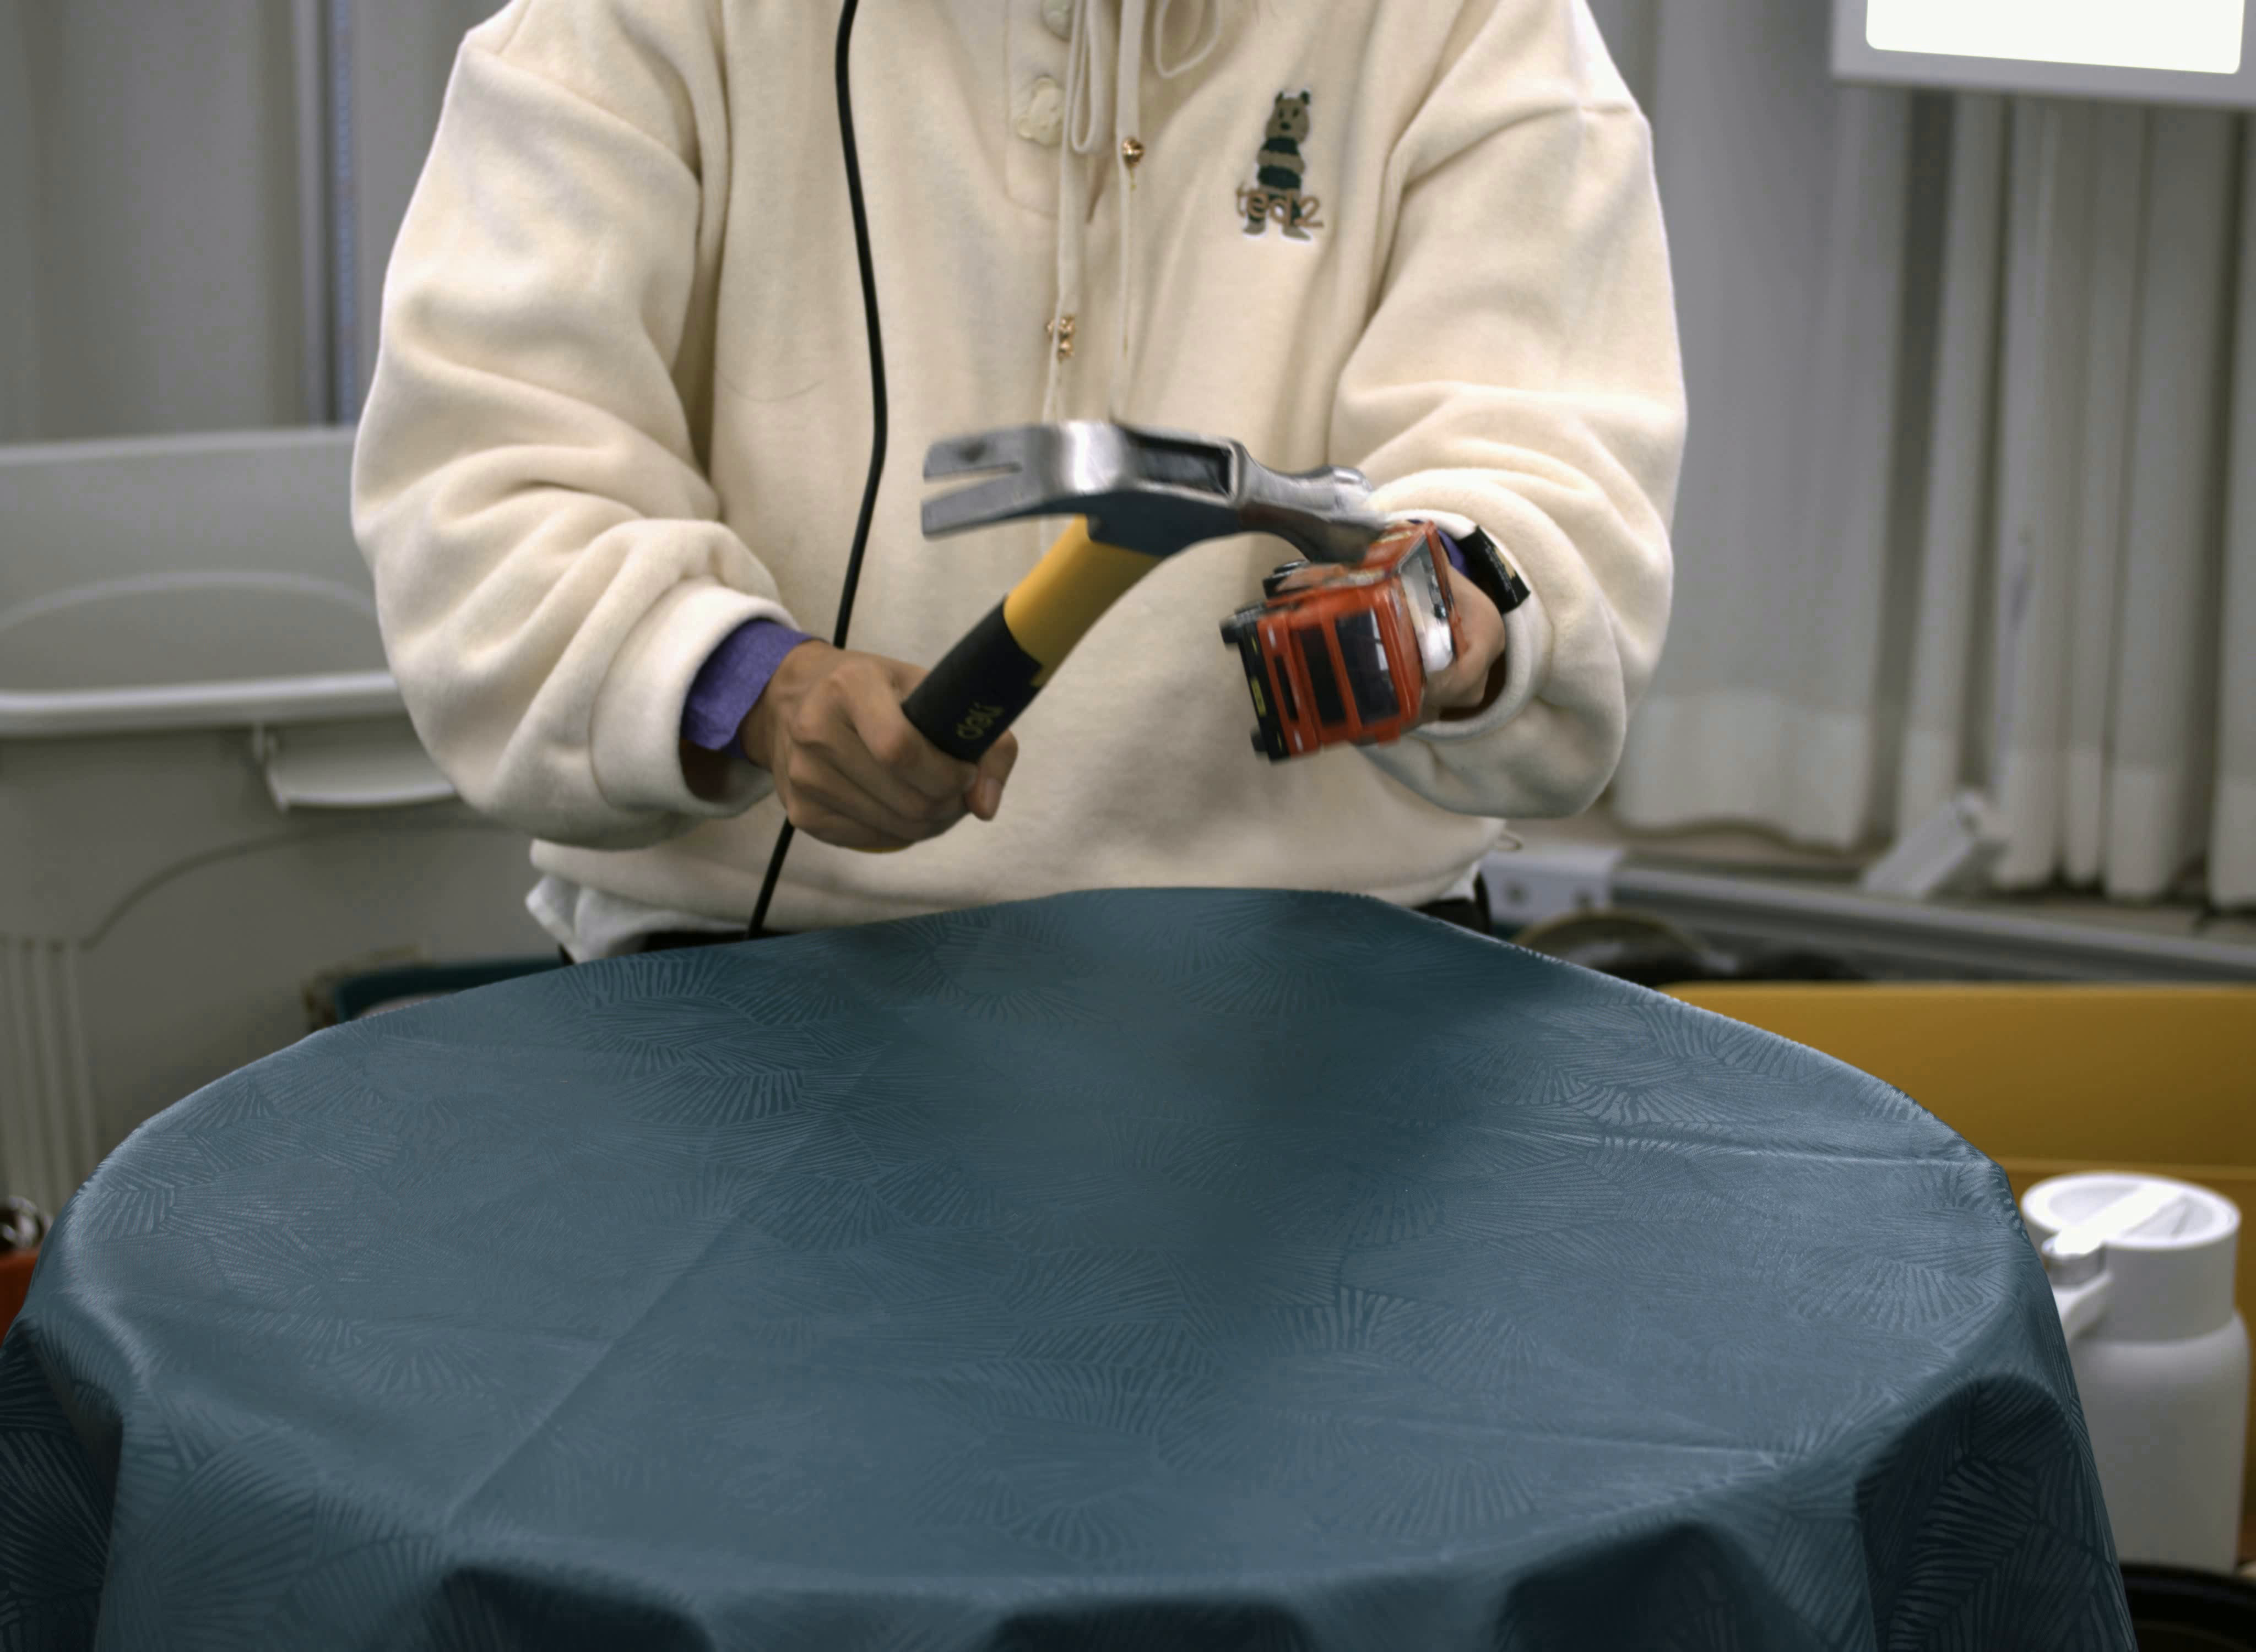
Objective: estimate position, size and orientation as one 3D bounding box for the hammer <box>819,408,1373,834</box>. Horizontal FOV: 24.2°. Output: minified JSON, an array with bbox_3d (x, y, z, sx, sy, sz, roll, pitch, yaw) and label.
[{"bbox_3d":[-0.039,-0.063,1.741,0.132,0.032,0.338,10,-21,-17],"label":"hammer"}]

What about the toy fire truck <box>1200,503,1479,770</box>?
[{"bbox_3d":[0.070,-0.060,1.626,0.070,0.054,0.168,-14,8,11],"label":"toy fire truck"}]
